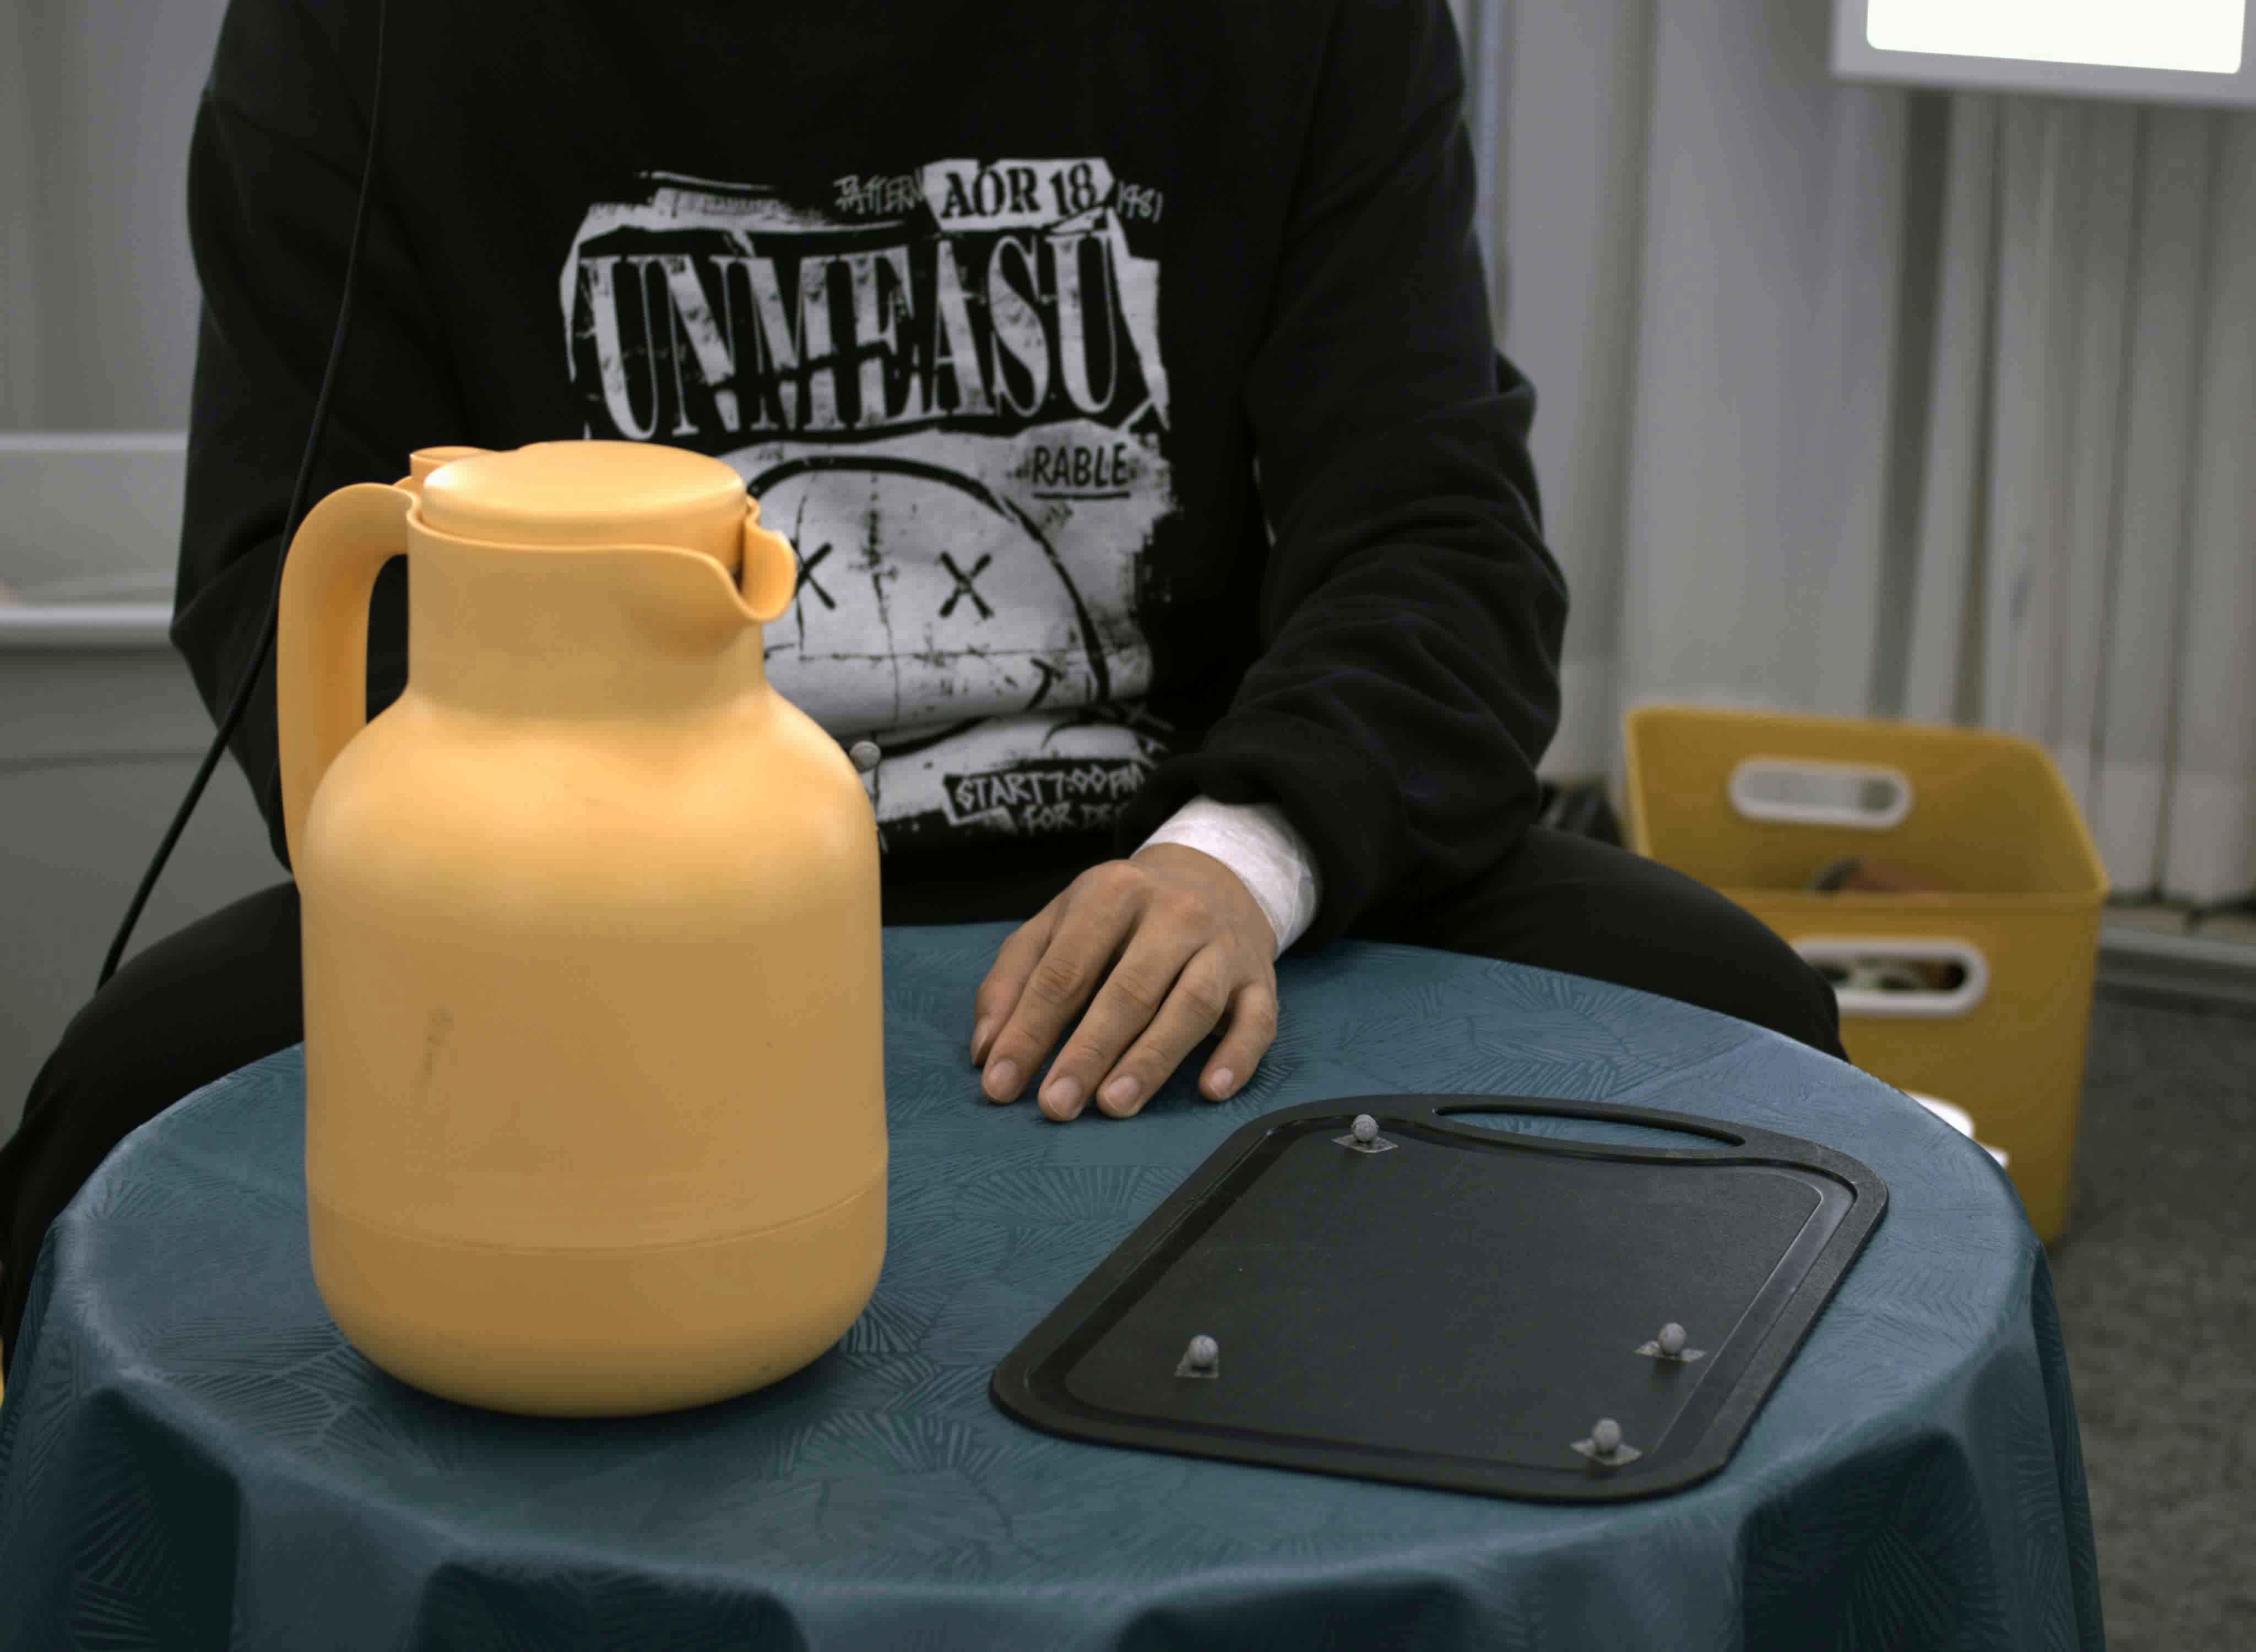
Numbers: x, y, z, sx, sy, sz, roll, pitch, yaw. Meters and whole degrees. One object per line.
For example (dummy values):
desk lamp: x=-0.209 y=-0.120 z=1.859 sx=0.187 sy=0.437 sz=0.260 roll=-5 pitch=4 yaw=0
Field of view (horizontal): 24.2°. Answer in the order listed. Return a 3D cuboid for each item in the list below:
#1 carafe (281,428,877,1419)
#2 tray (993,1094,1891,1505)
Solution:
carafe: x=-0.162 y=0.018 z=1.465 sx=0.199 sy=0.262 sz=0.164 roll=17 pitch=21 yaw=42
tray: x=0.101 y=0.129 z=1.551 sx=0.209 sy=0.010 sz=0.325 roll=6 pitch=16 yaw=18
